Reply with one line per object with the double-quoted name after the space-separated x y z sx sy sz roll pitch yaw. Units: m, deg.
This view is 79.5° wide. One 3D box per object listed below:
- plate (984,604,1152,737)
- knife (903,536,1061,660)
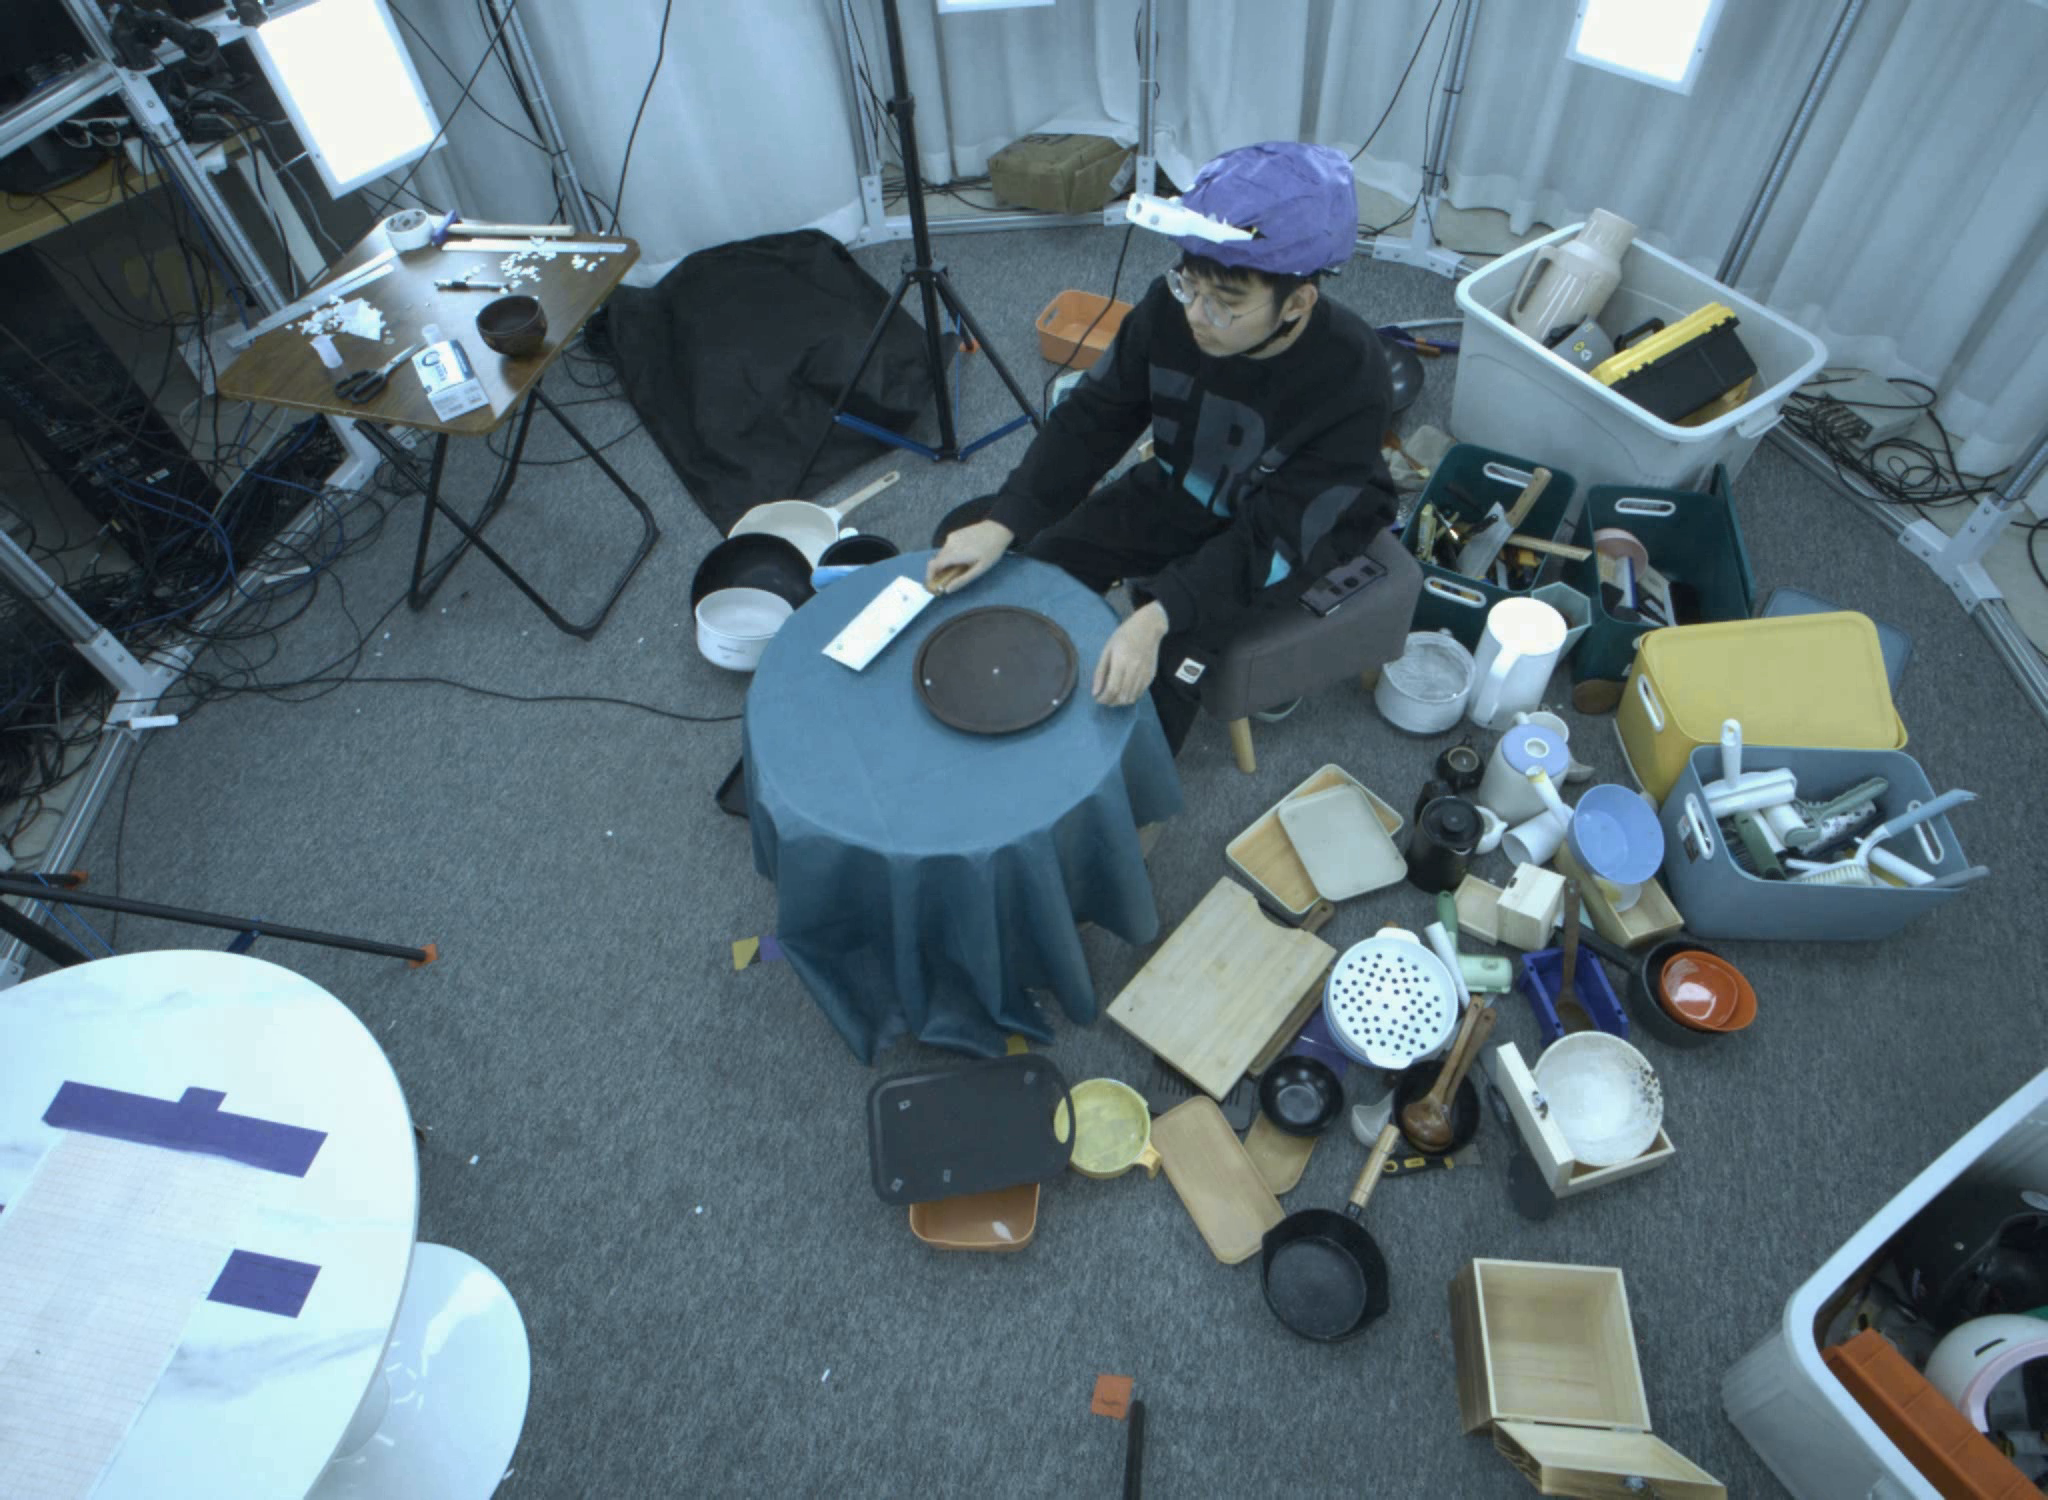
0.065 -0.121 1.854 0.254 0.029 0.252 0 56 1 "plate"
-0.070 -0.250 1.944 0.091 0.021 0.307 30 64 36 "knife"
